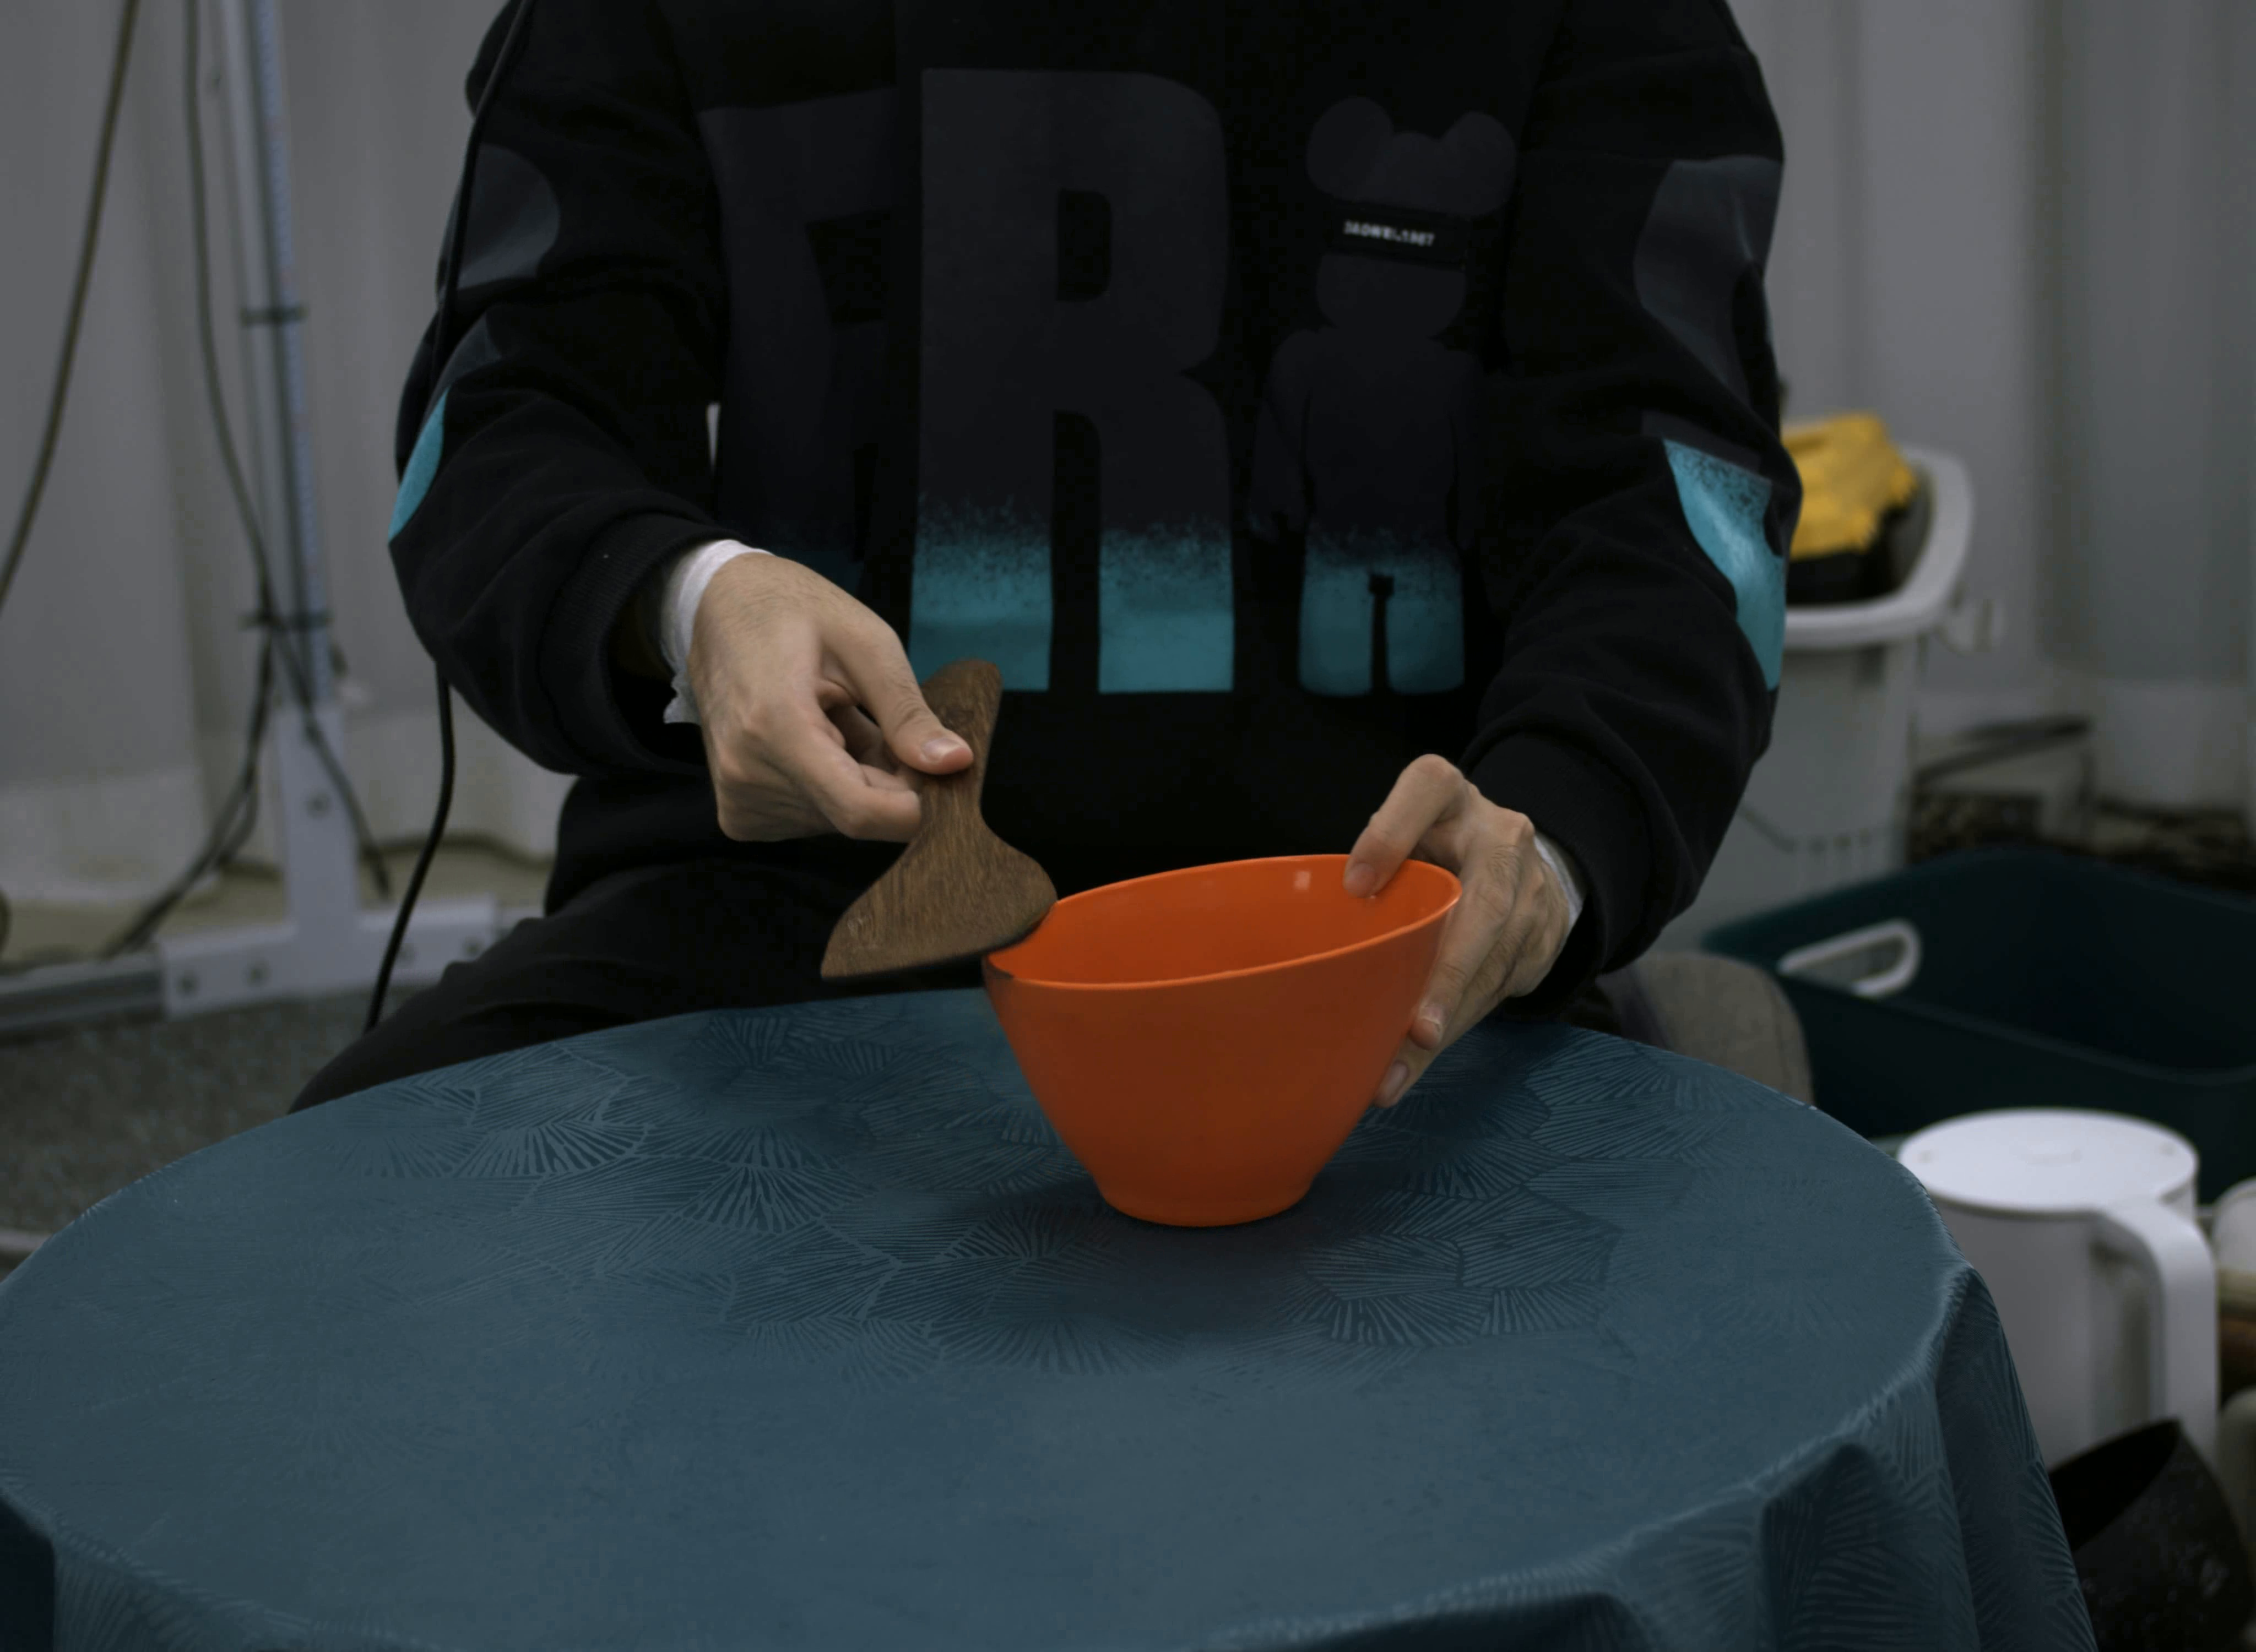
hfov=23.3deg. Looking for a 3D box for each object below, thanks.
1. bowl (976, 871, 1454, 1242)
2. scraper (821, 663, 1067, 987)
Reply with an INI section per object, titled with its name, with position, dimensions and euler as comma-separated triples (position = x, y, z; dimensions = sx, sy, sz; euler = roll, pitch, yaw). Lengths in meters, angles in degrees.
[bowl]
position = 0.028, 0.071, 1.680
dimensions = 0.147, 0.104, 0.149
euler = -3, 17, 1
[scraper]
position = -0.054, -0.002, 1.724
dimensions = 0.075, 0.011, 0.214
euler = -11, 27, 7
